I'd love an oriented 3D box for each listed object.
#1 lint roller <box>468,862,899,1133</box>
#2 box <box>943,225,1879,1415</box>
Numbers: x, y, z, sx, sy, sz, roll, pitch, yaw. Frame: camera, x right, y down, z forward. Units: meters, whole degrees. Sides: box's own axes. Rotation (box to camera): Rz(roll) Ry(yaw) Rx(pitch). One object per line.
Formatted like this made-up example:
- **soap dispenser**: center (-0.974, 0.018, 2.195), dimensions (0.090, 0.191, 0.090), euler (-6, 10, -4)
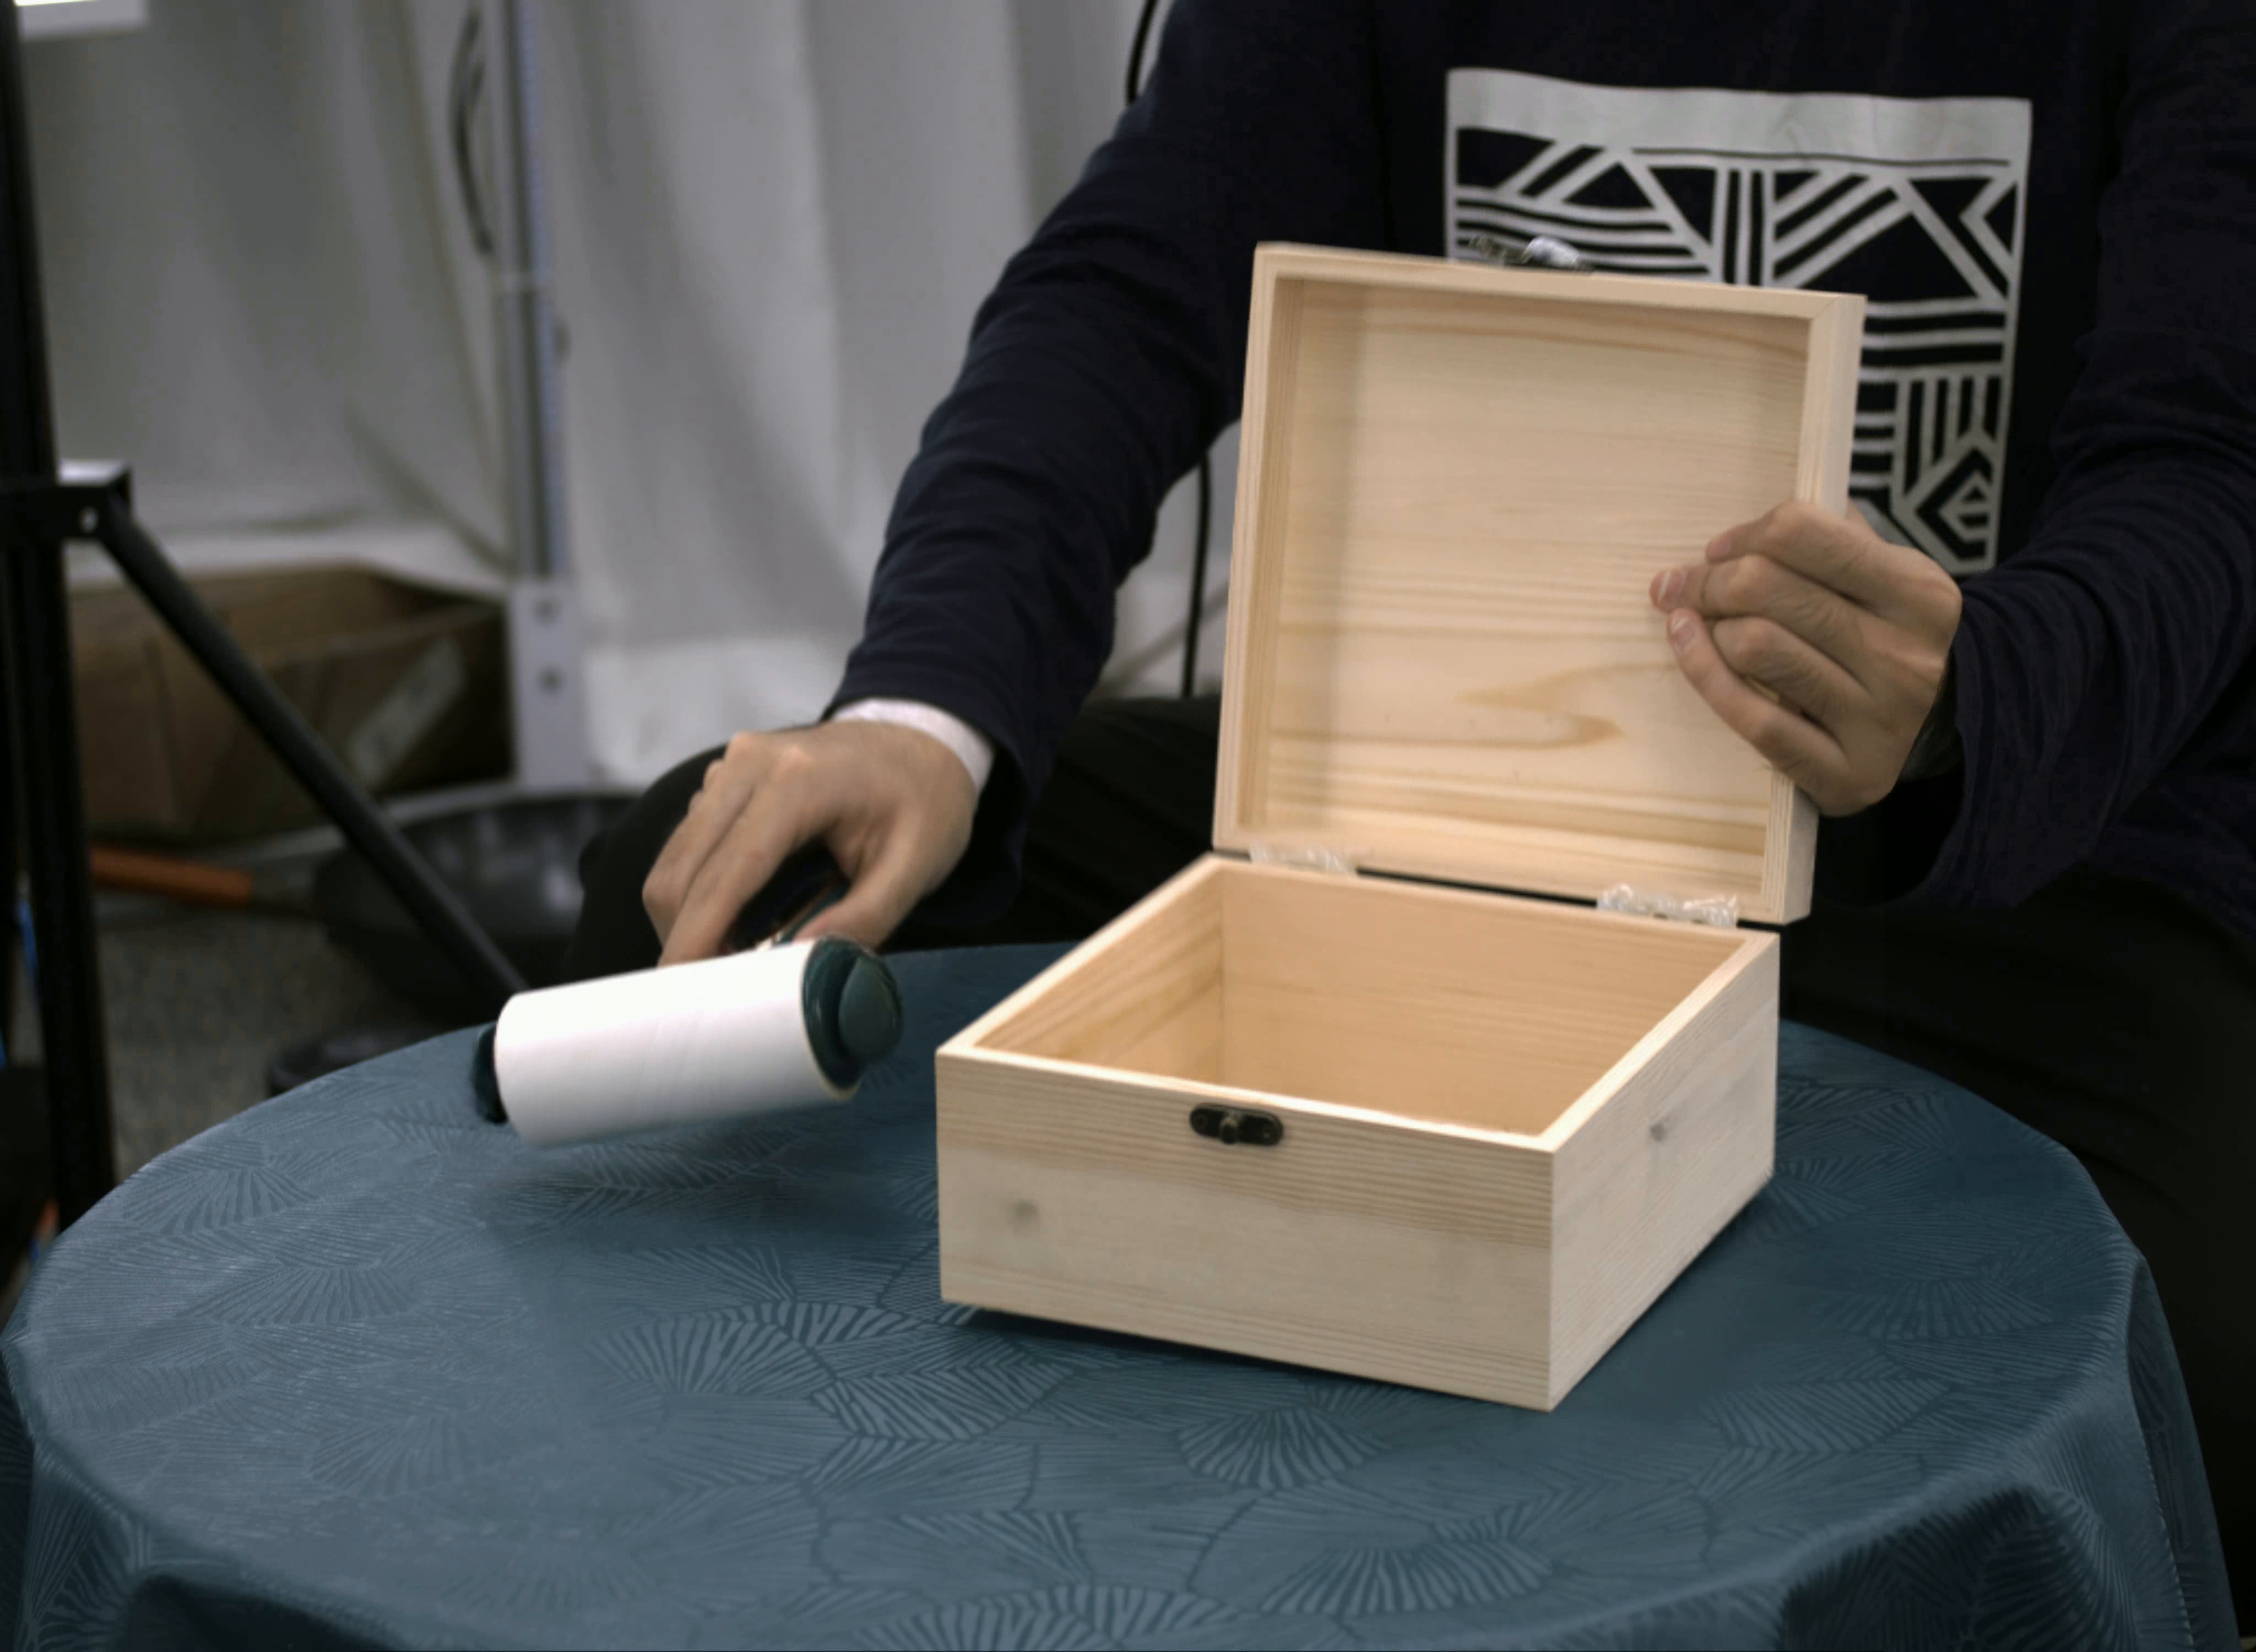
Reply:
- **lint roller**: center (-0.116, 0.032, 1.625), dimensions (0.135, 0.048, 0.179), euler (-12, 21, 20)
- **box**: center (0.082, -0.014, 1.483), dimensions (0.184, 0.253, 0.261), euler (8, 20, 23)
